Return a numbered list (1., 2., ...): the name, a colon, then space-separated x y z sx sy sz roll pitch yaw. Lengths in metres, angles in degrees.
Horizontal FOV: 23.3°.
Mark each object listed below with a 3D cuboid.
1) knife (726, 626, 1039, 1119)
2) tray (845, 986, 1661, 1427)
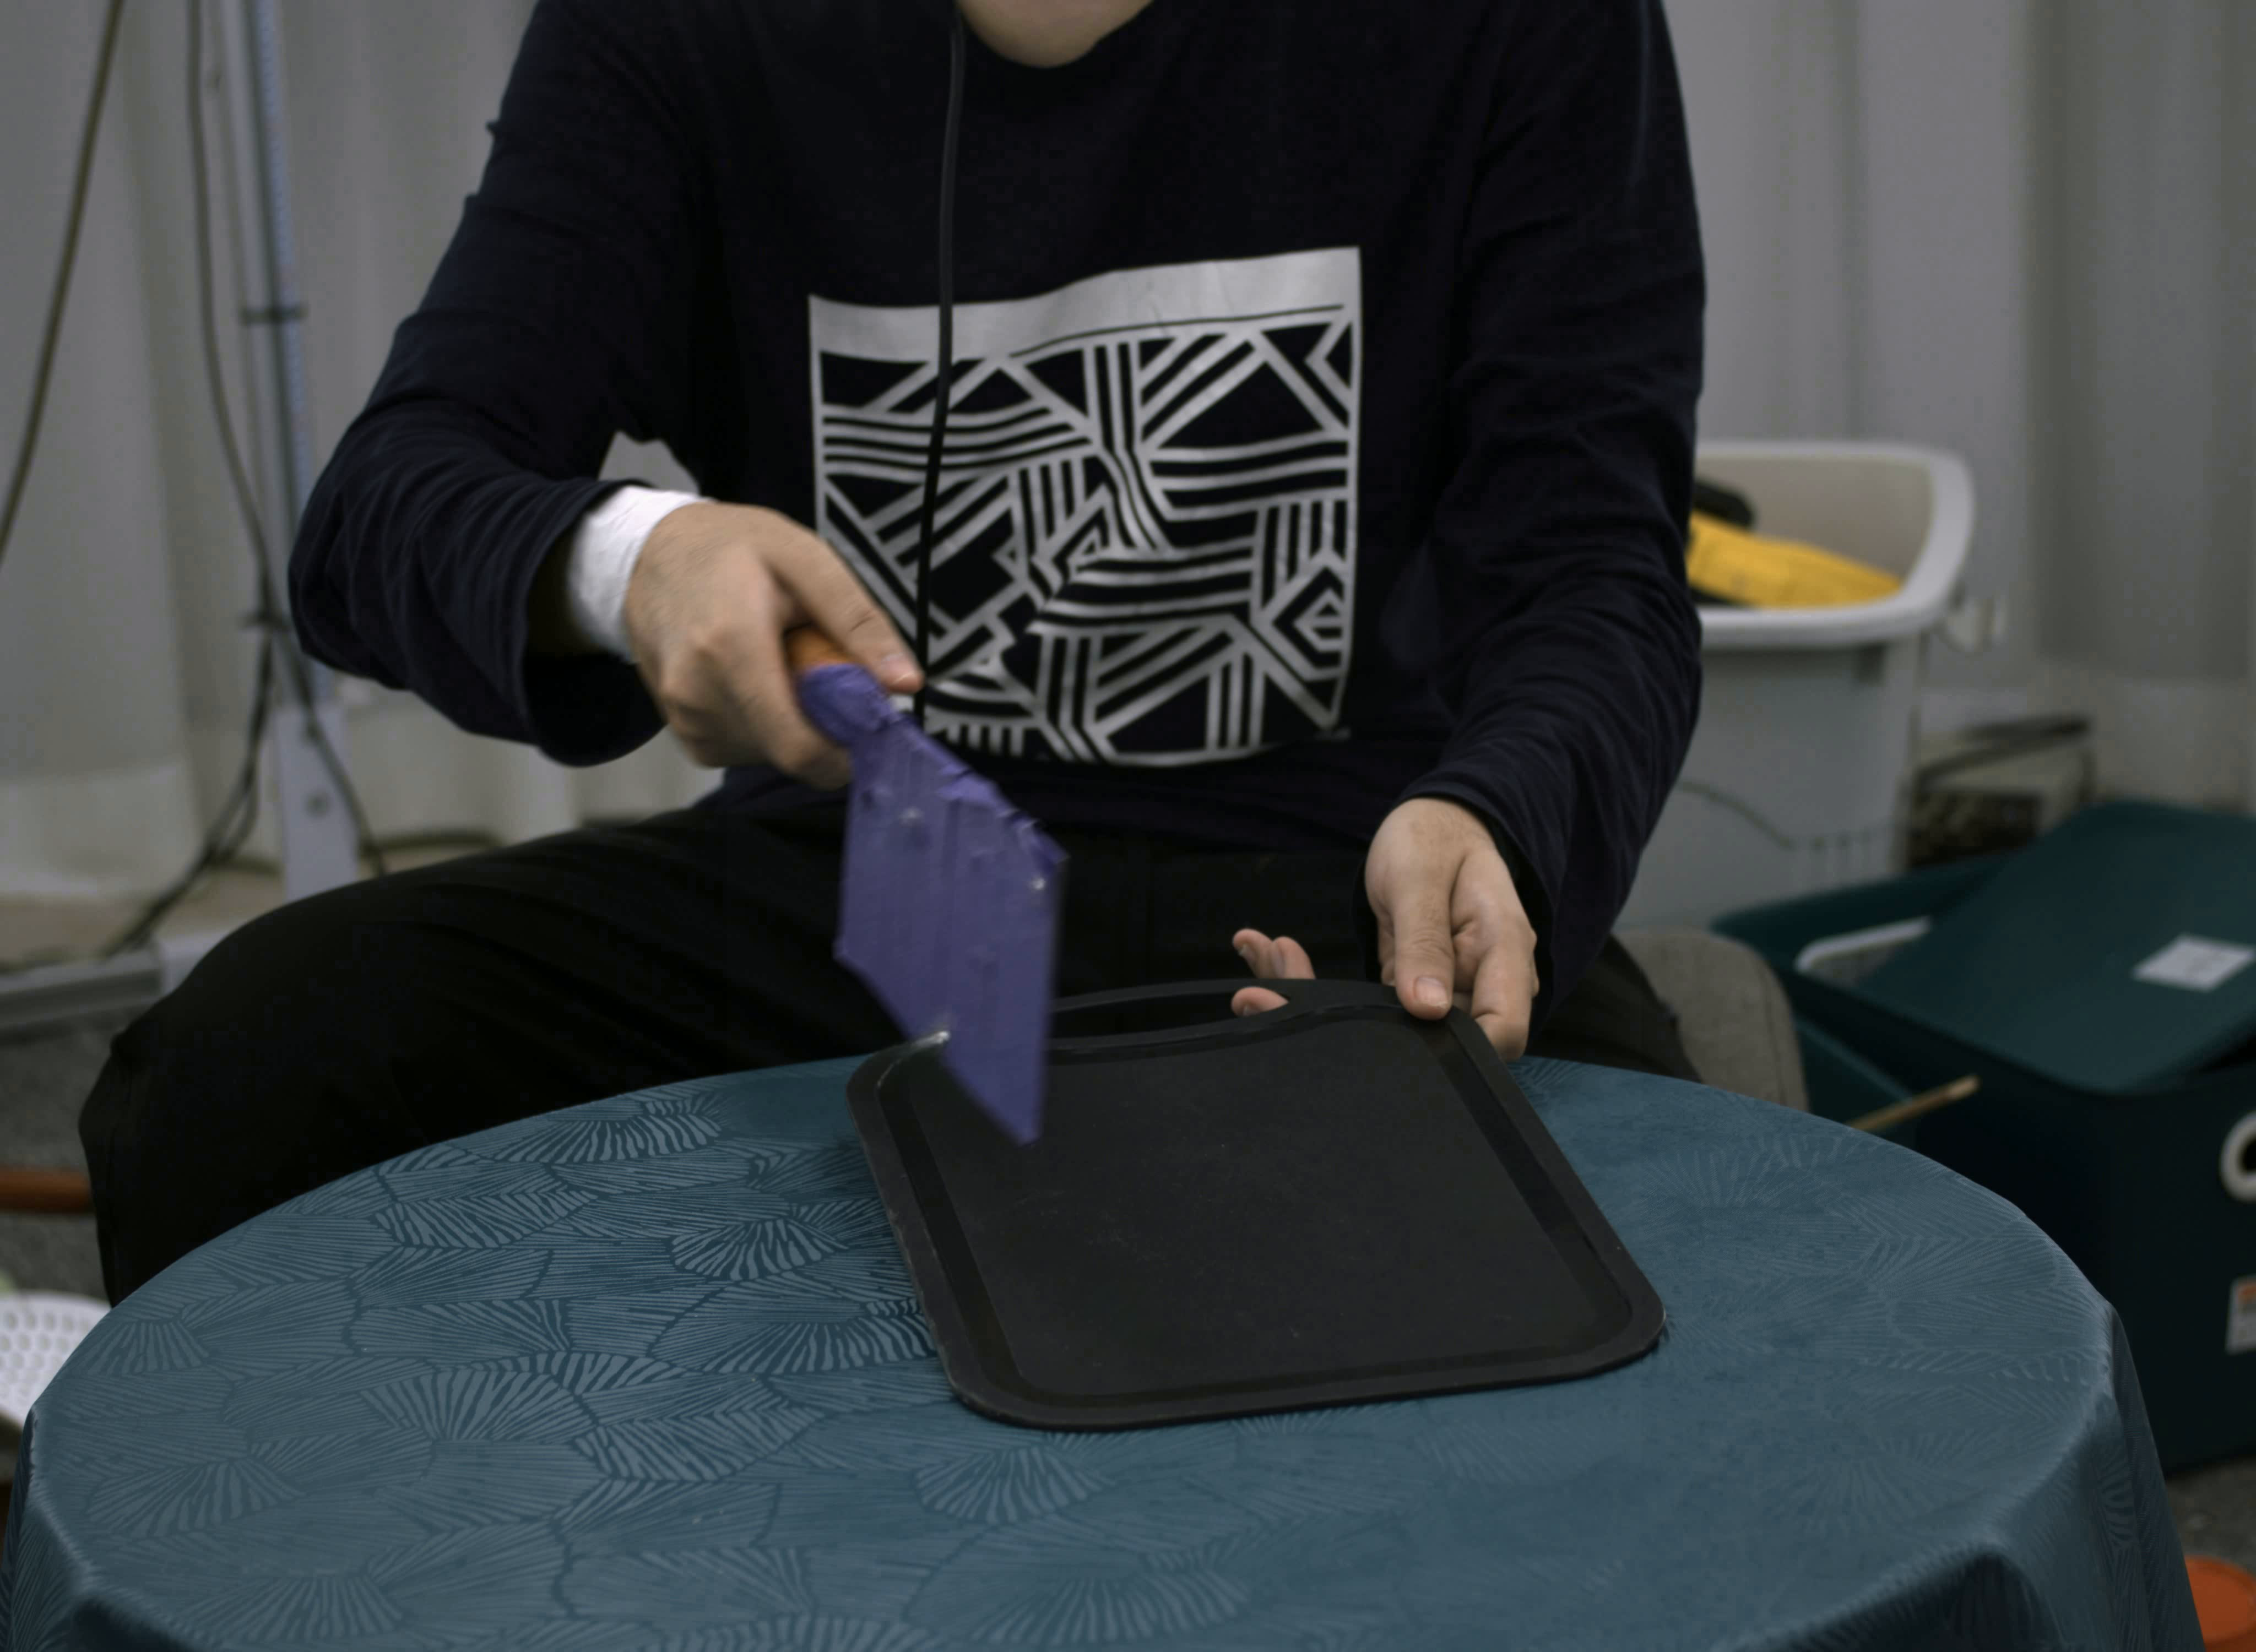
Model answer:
1. knife: -0.081 0.012 1.696 0.032 0.103 0.318 5 12 -18
2. tray: 0.029 0.108 1.675 0.210 0.010 0.328 -5 20 -9
